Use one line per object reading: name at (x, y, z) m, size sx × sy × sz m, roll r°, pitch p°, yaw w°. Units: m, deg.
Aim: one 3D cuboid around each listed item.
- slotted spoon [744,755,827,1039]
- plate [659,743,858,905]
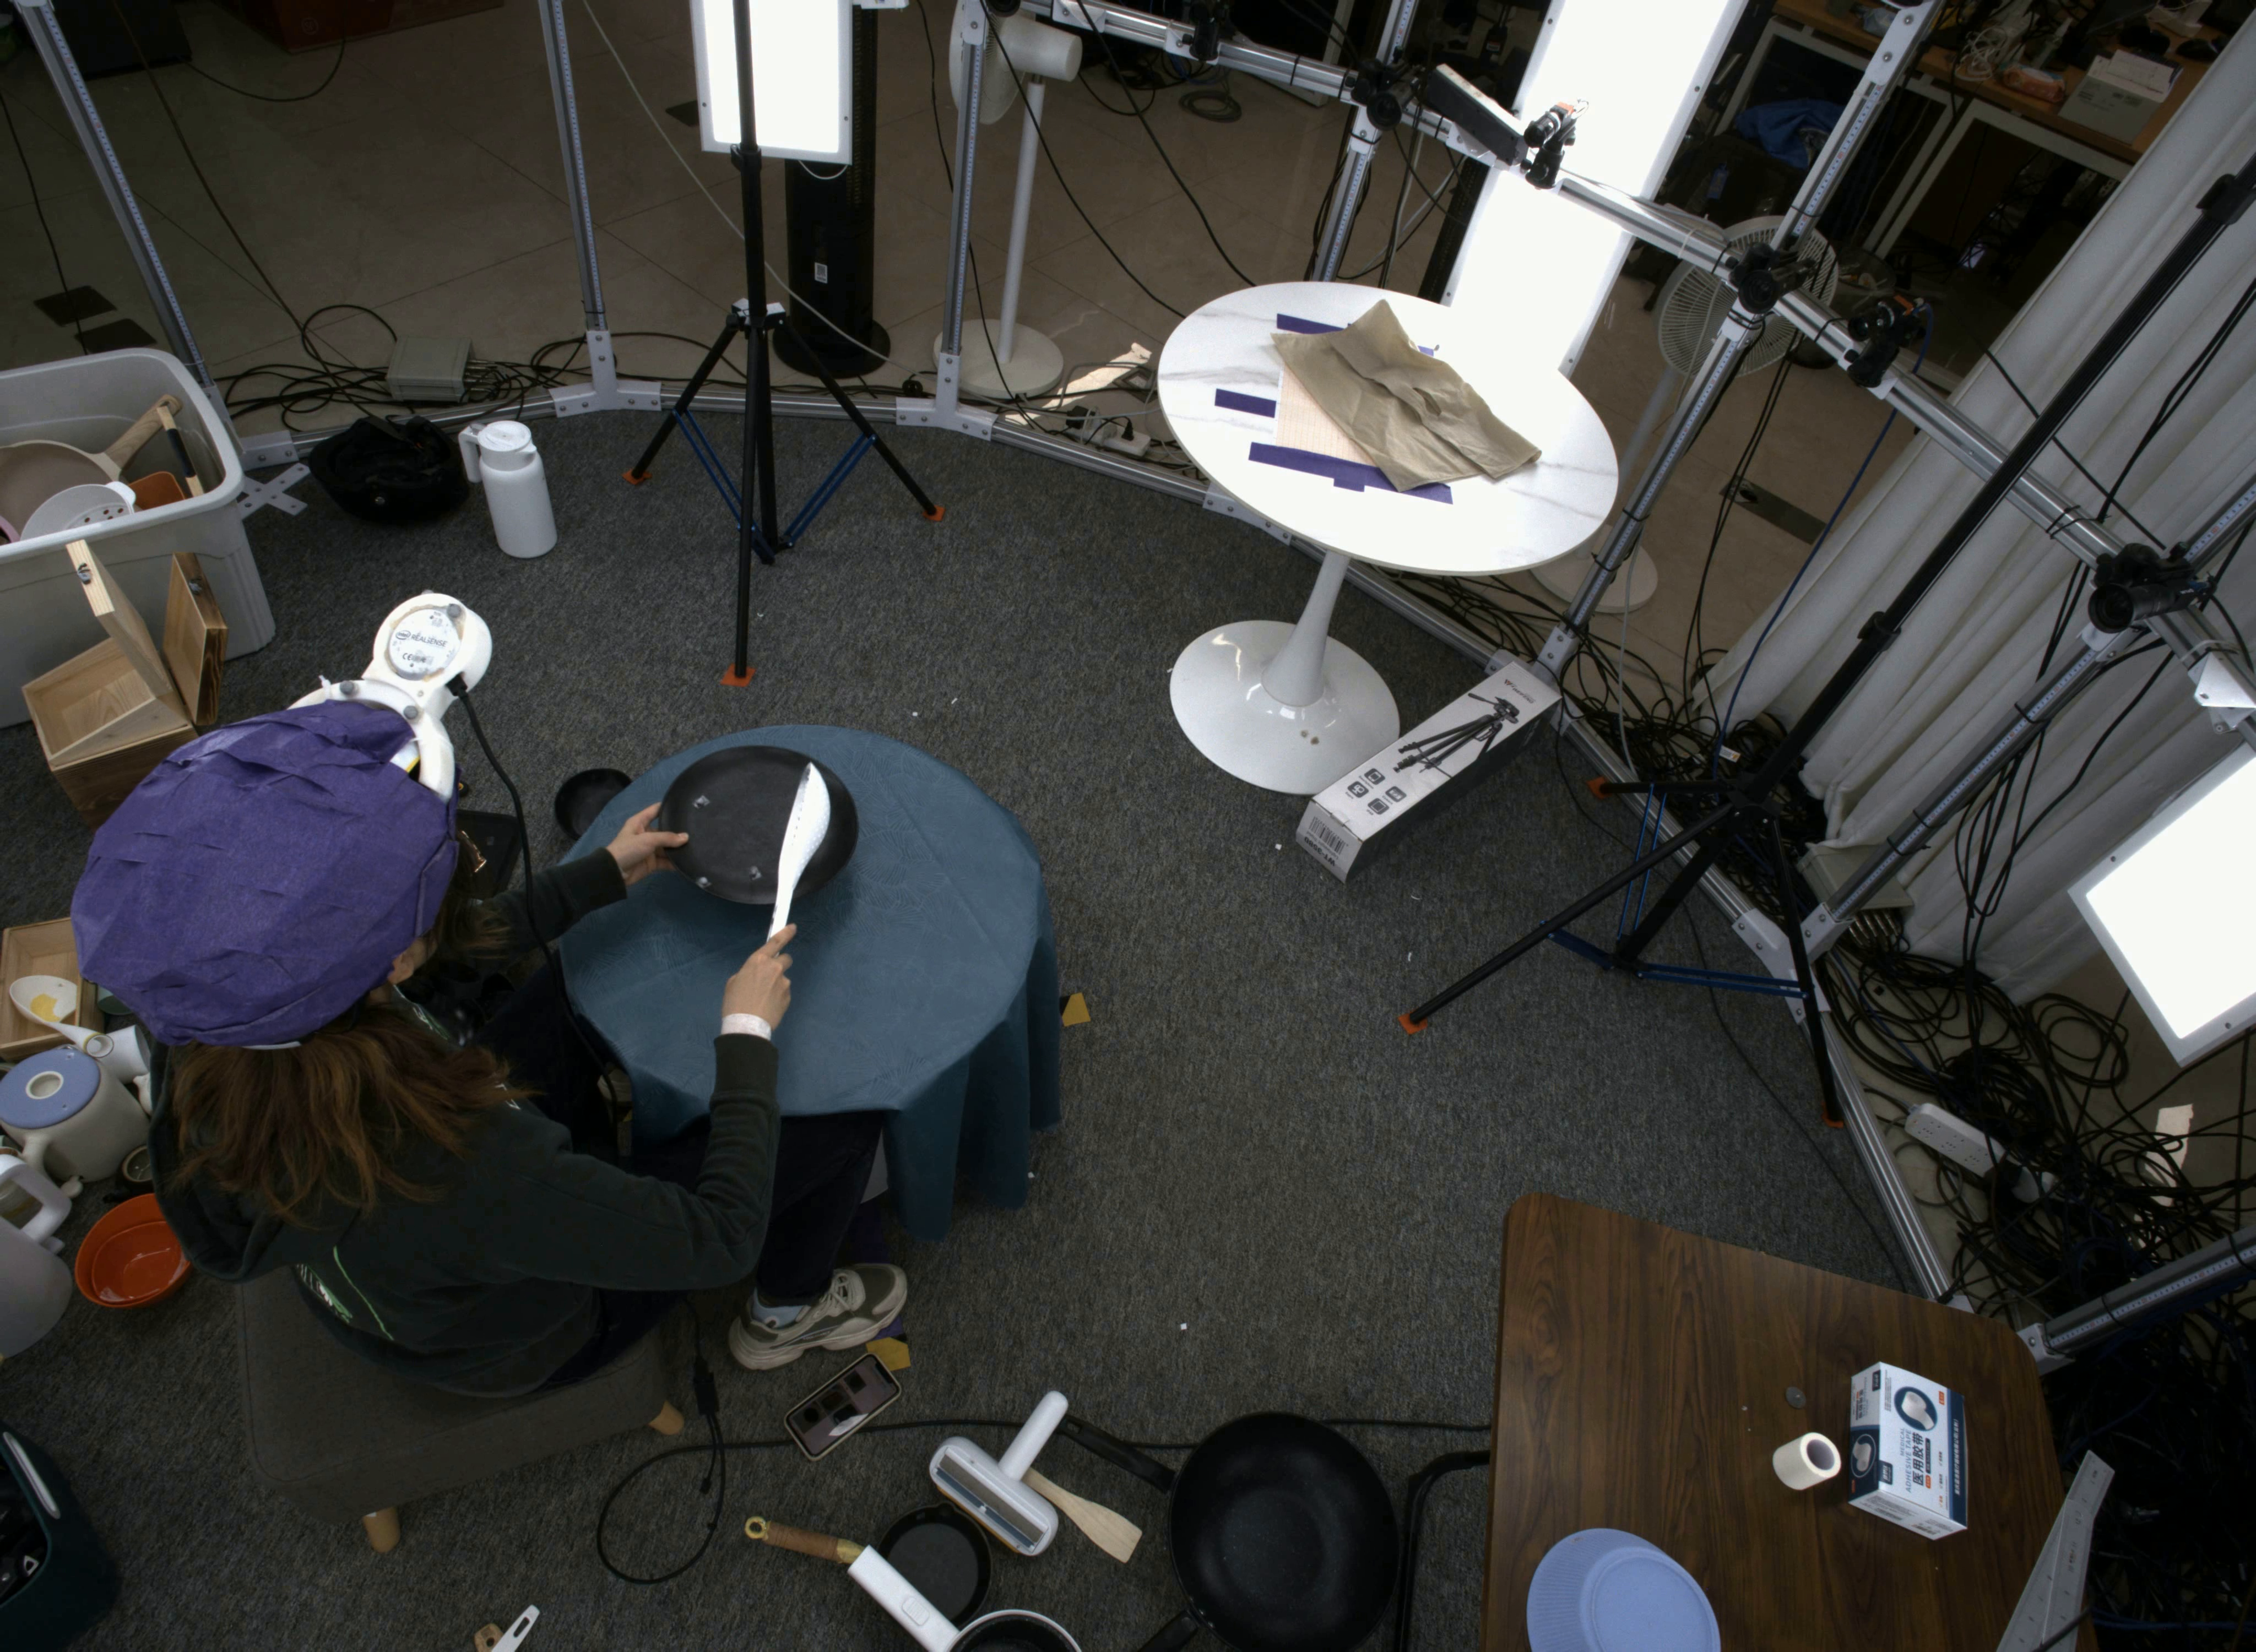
slotted spoon at (-0.395, 0.075, 1.476) m, size 0.046 × 0.136 × 0.345 m, roll 18°, pitch 55°, yaw -15°
plate at (-0.462, -0.002, 1.620) m, size 0.245 × 0.024 × 0.240 m, roll 10°, pitch 54°, yaw -13°
